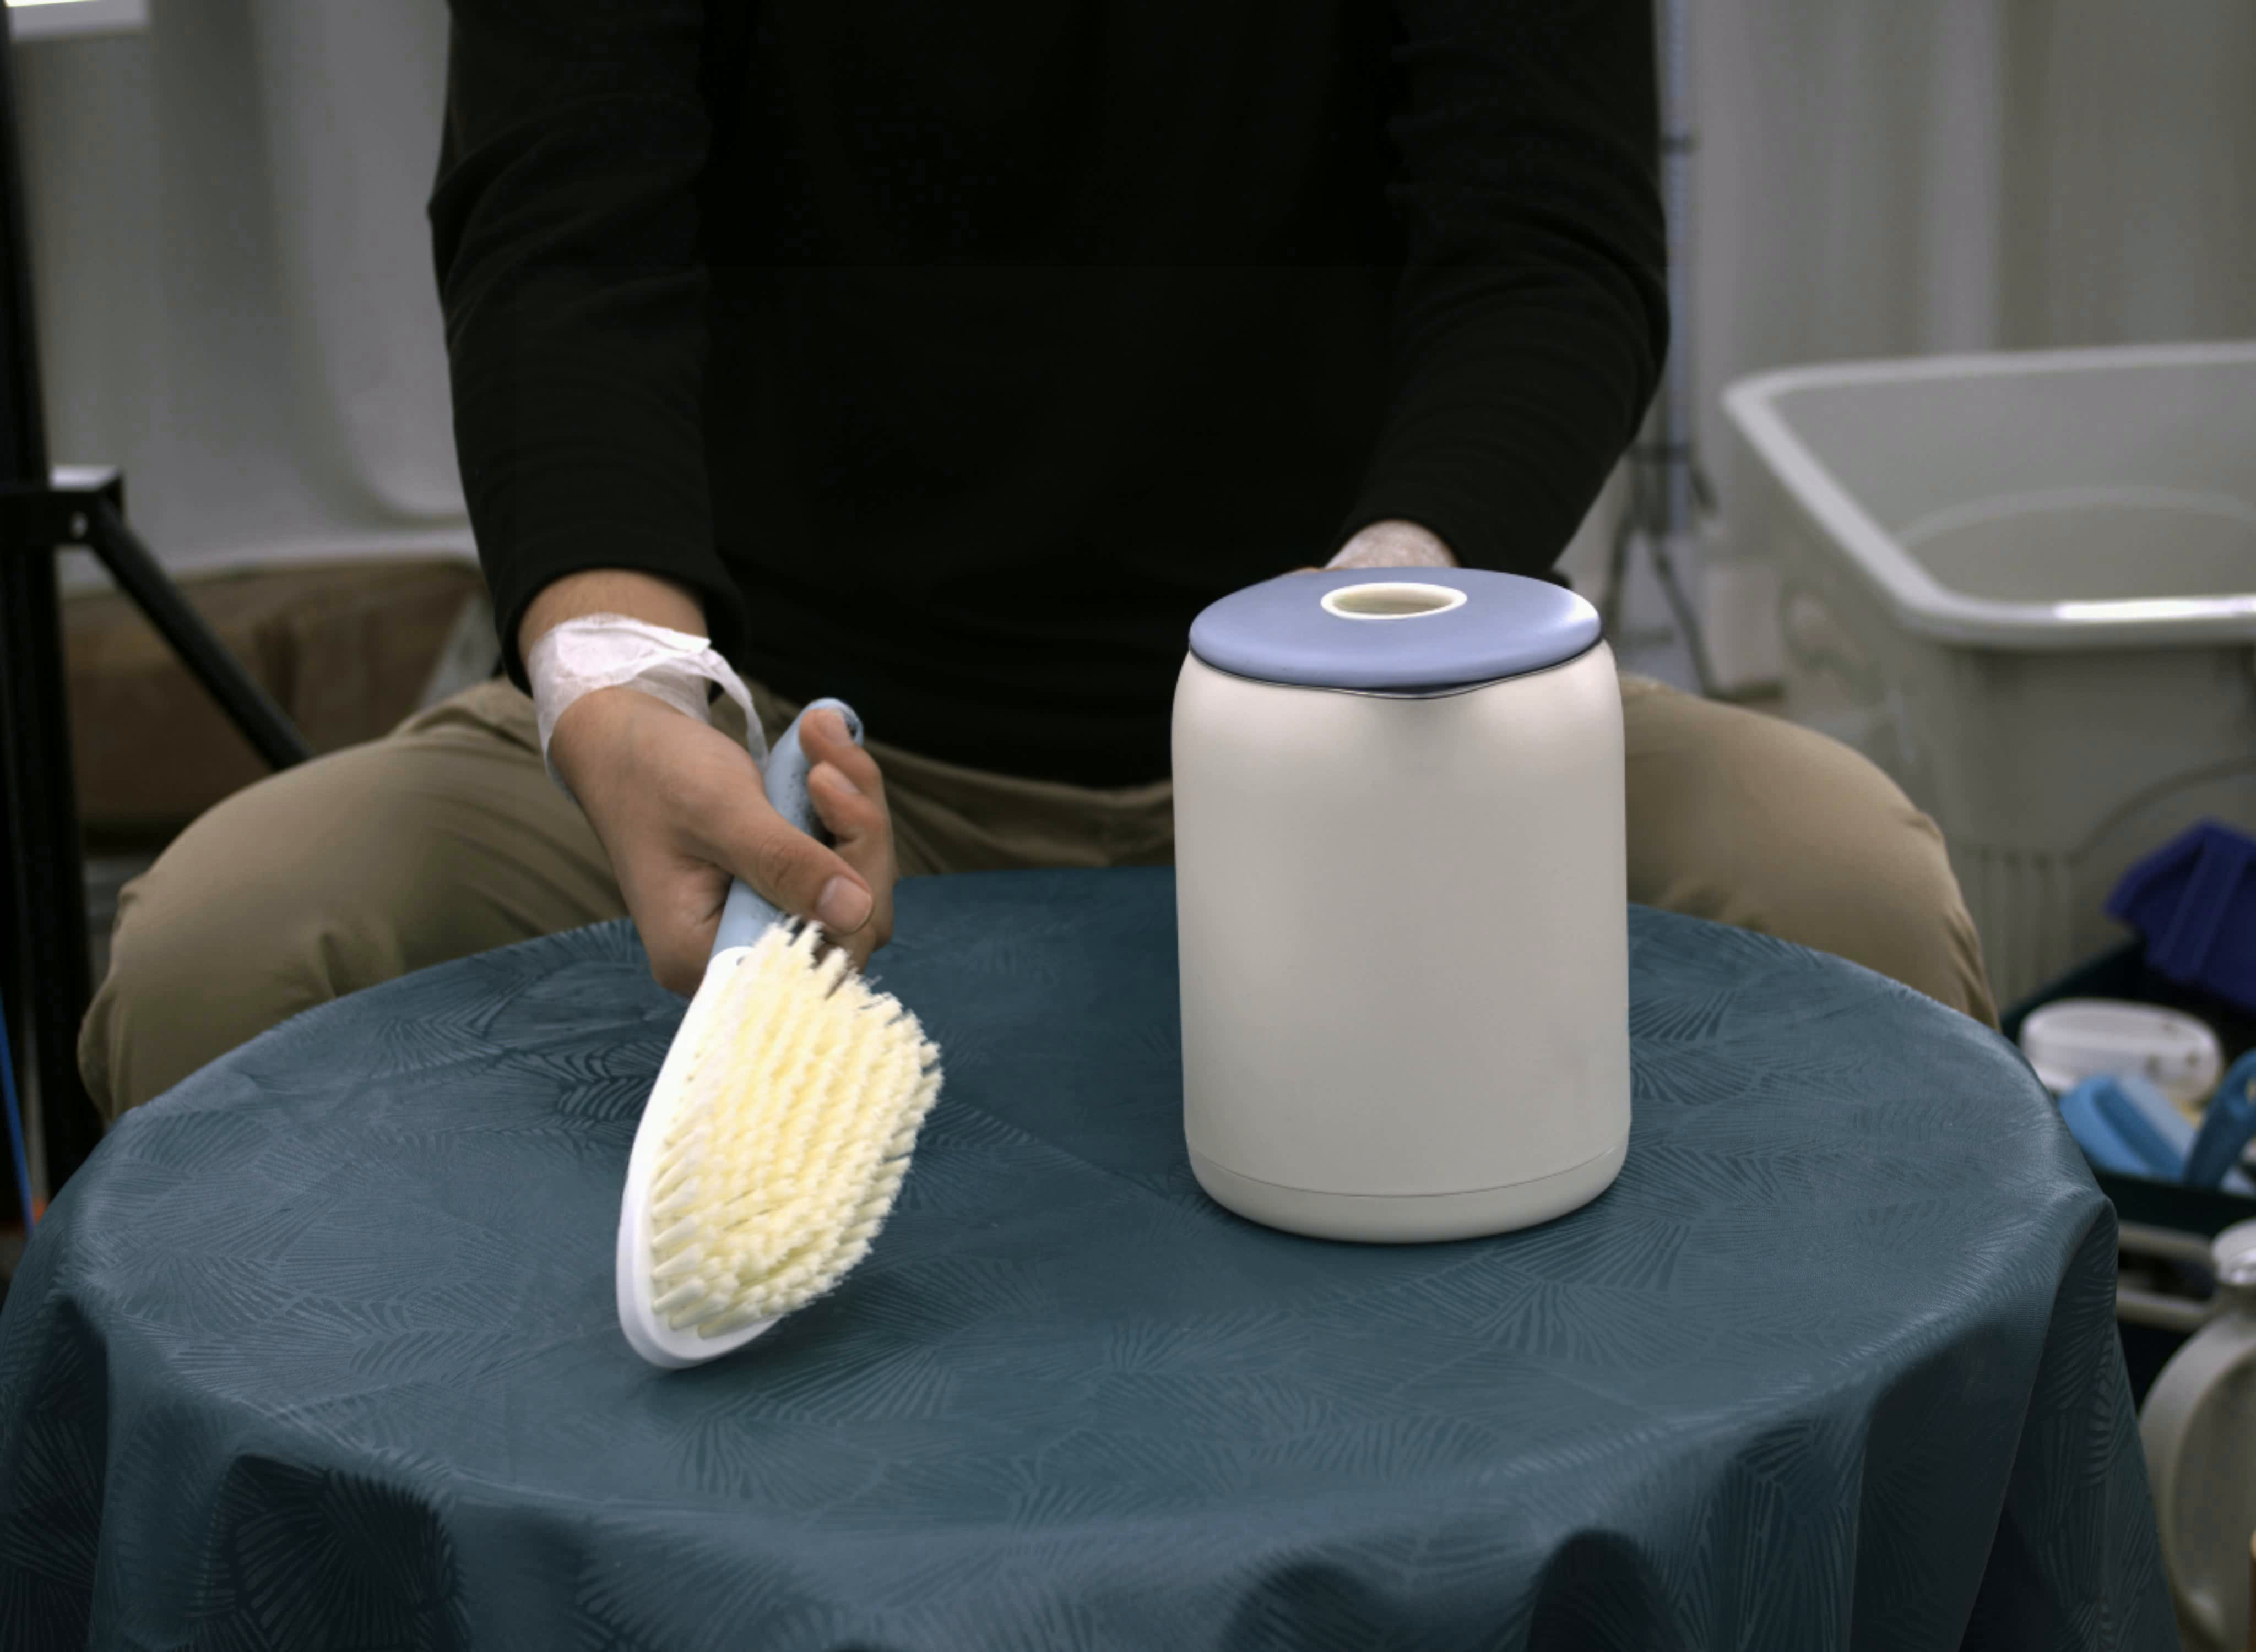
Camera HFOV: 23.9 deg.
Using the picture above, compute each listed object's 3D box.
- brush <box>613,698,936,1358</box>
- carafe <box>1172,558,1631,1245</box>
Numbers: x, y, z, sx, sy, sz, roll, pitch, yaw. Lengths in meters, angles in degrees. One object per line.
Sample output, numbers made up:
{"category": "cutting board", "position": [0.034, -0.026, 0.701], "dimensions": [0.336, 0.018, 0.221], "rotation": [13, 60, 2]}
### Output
{"category": "brush", "position": [-0.090, 0.033, 1.550], "dimensions": [0.085, 0.082, 0.326], "rotation": [-2, 32, 9]}
{"category": "carafe", "position": [0.077, 0.015, 1.560], "dimensions": [0.131, 0.182, 0.192], "rotation": [-3, 14, -5]}
